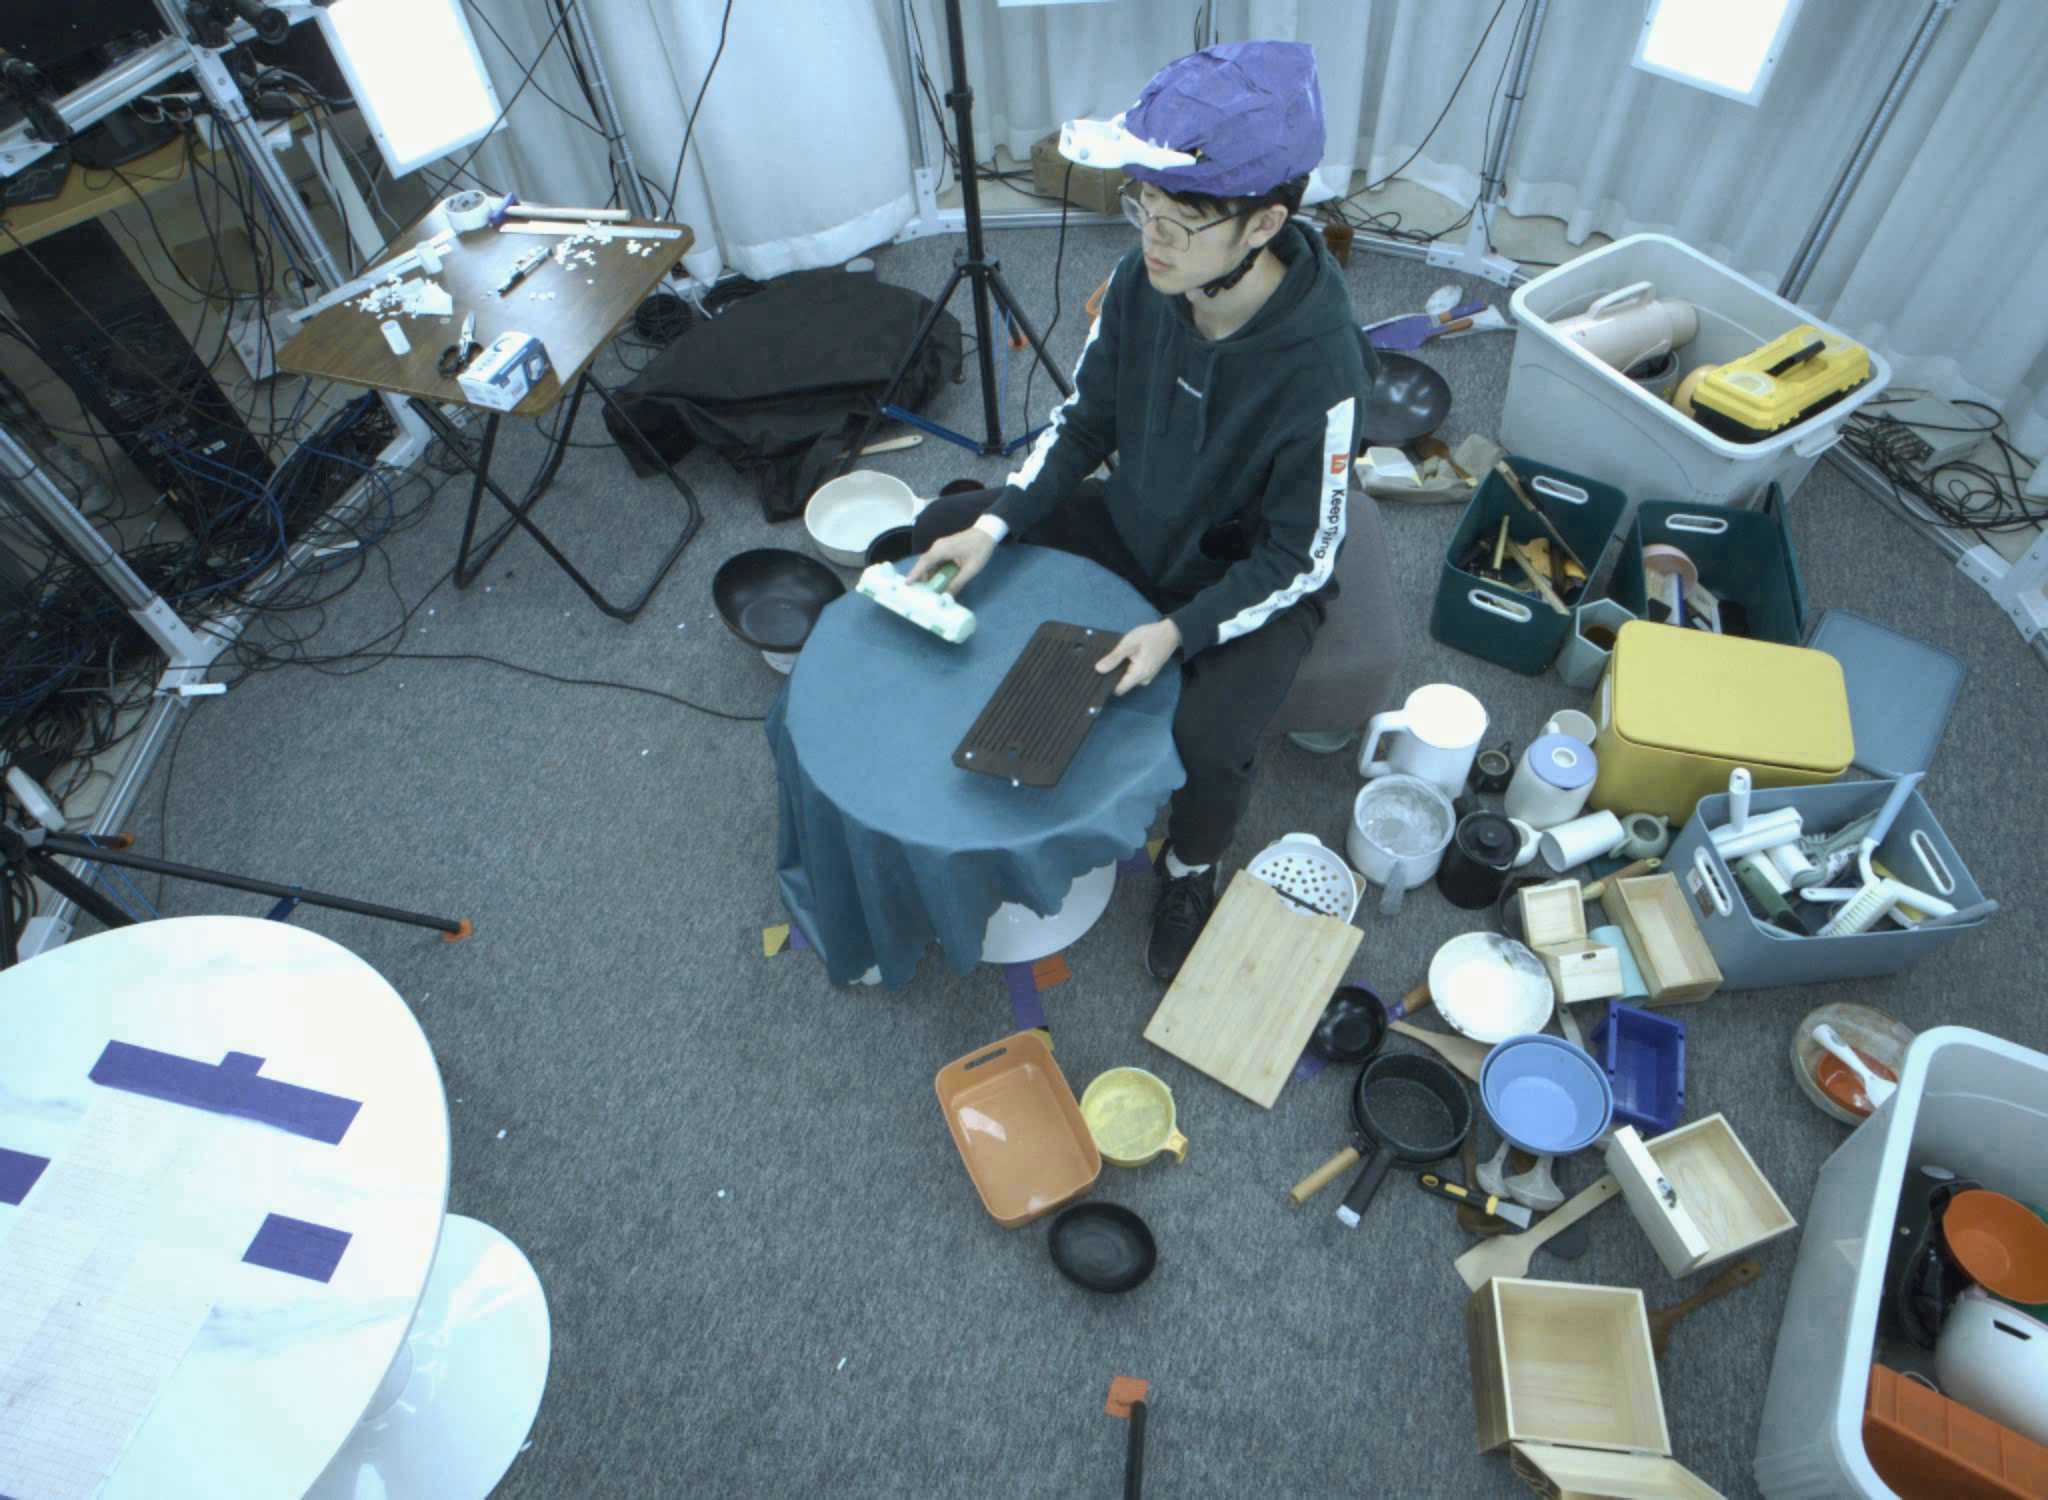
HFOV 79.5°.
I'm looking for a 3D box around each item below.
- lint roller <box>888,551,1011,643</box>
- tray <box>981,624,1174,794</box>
[{"bbox_3d":[-0.084,-0.269,1.904,0.195,0.083,0.184,31,65,21],"label":"lint roller"},{"bbox_3d":[0.081,-0.063,1.761,0.167,0.019,0.307,15,53,27],"label":"tray"}]
